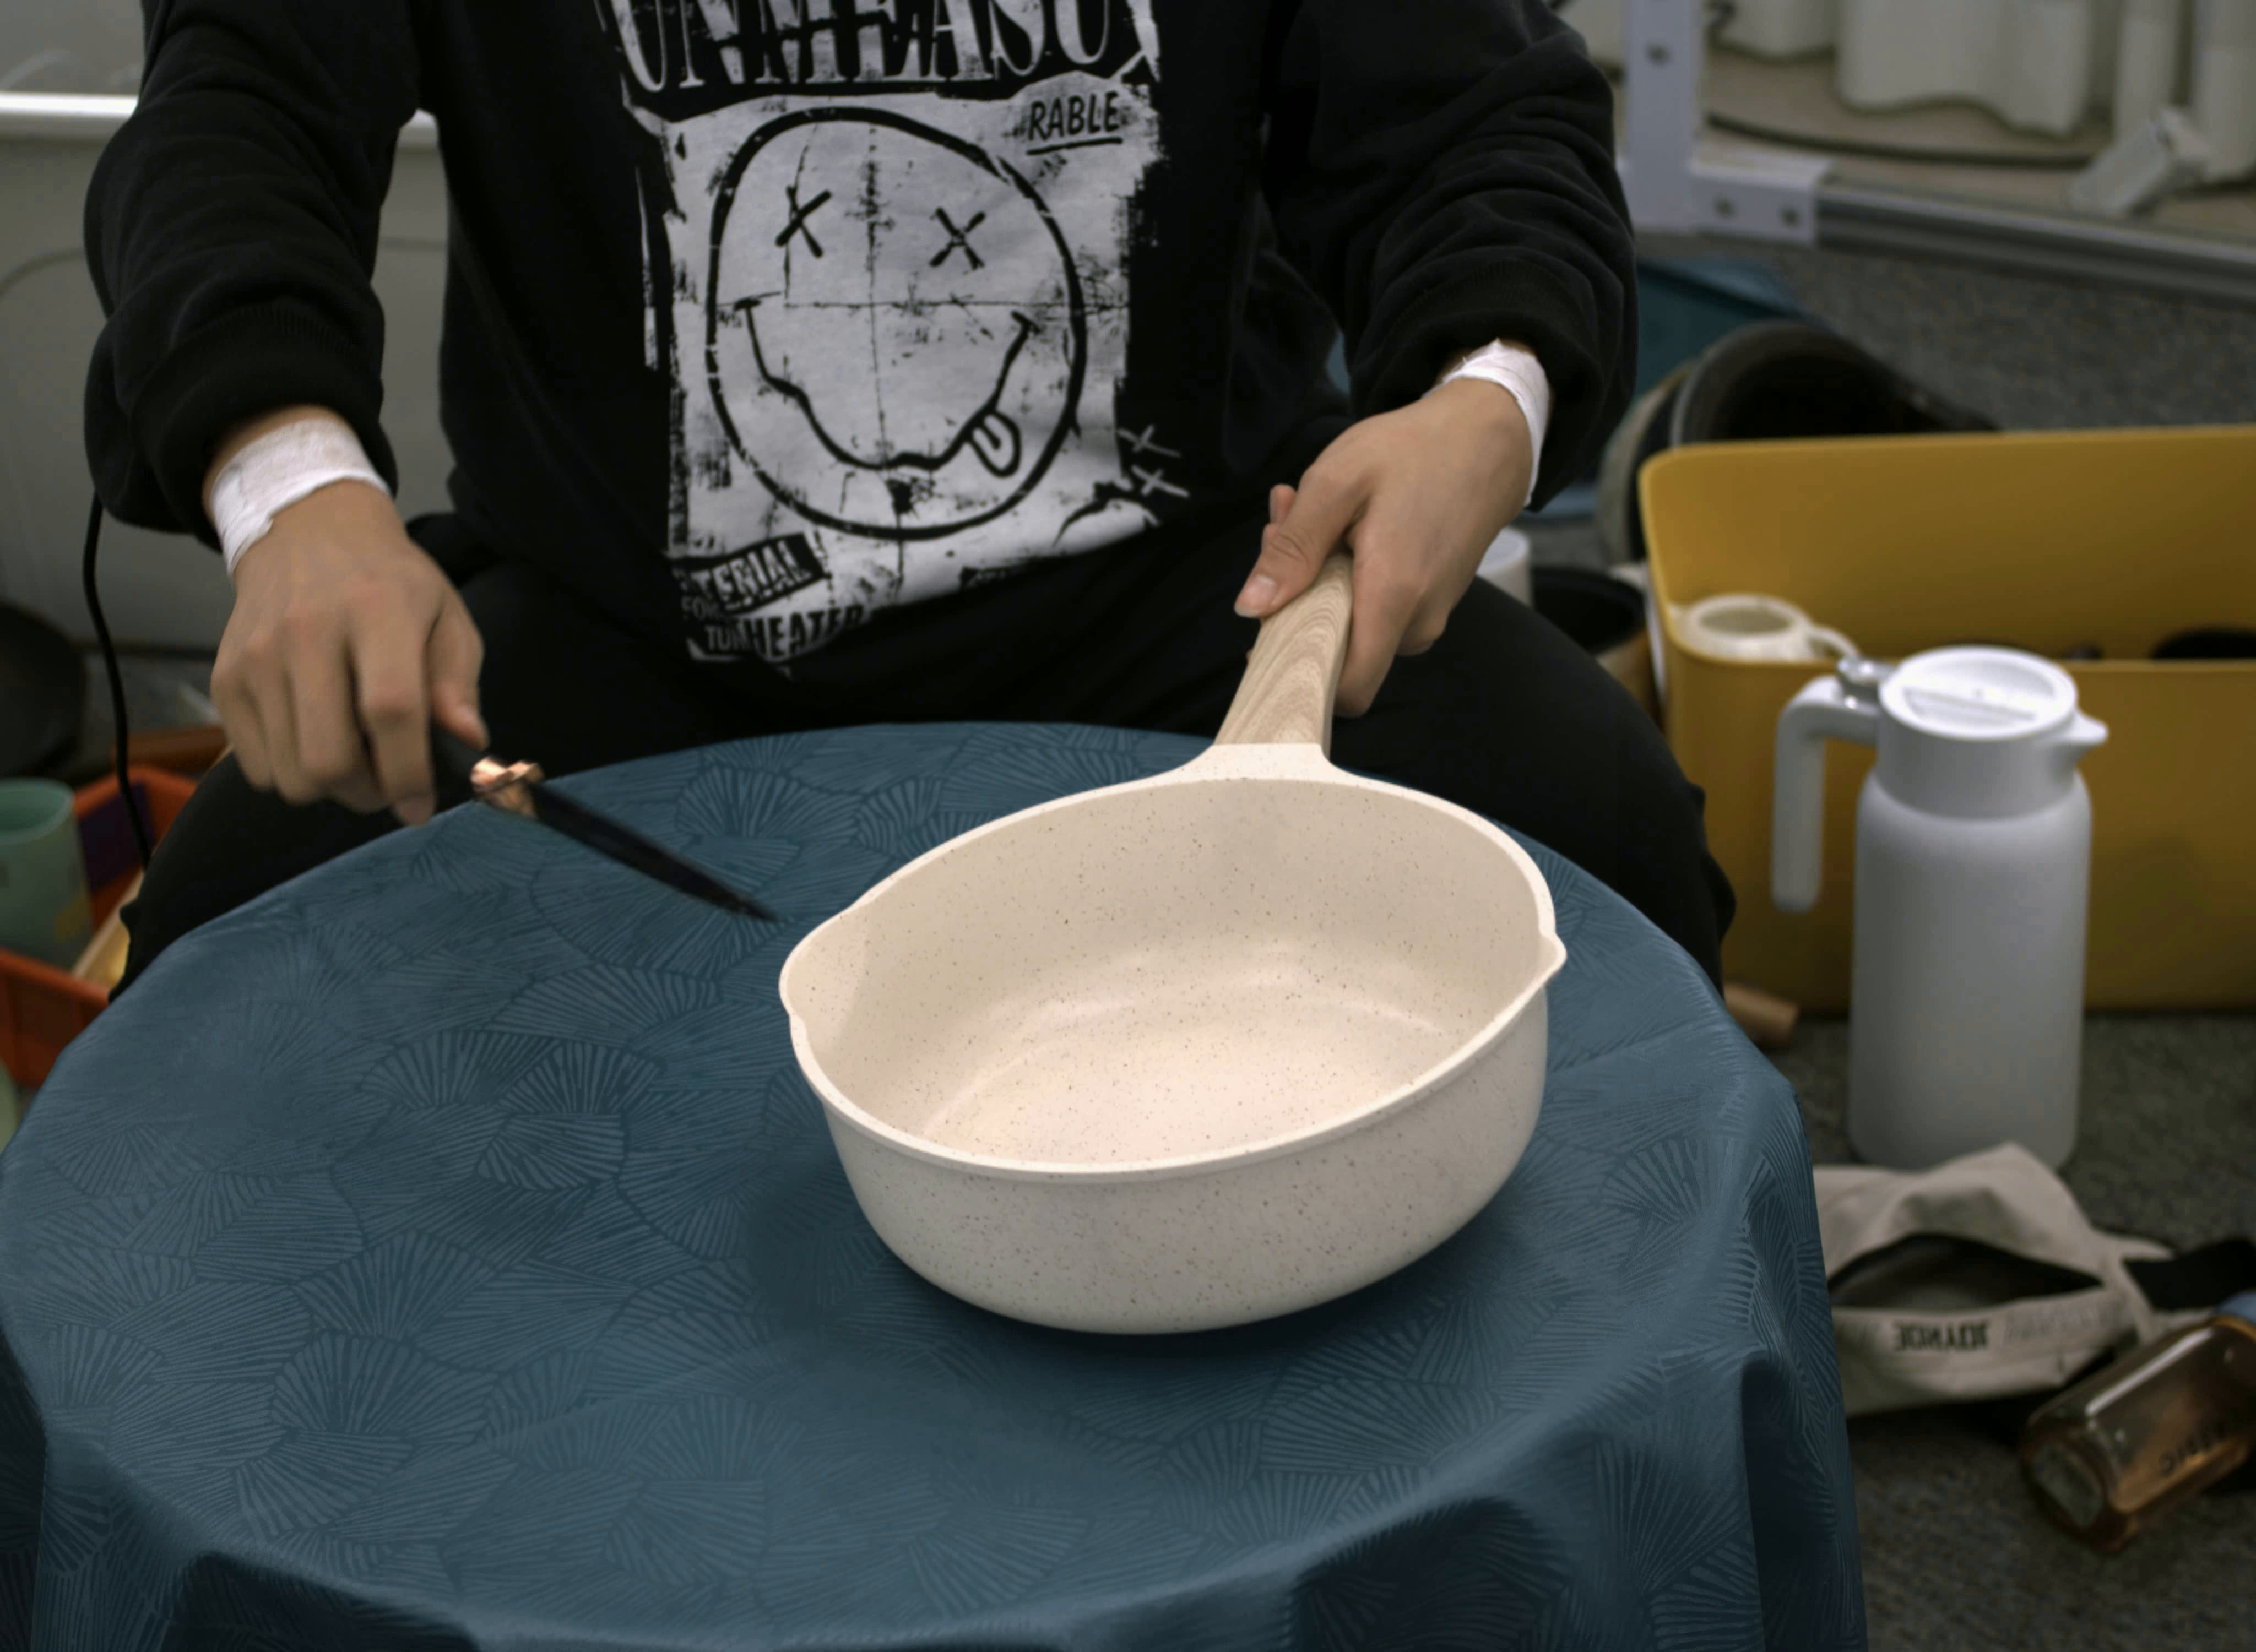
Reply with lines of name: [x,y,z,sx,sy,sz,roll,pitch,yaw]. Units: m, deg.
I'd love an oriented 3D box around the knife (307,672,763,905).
knife: [-0.193,-0.008,1.810,0.225,0.026,0.017,25,43,39]

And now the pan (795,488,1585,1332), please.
pan: [0.044,0.026,1.910,0.261,0.101,0.442,-2,28,15]
